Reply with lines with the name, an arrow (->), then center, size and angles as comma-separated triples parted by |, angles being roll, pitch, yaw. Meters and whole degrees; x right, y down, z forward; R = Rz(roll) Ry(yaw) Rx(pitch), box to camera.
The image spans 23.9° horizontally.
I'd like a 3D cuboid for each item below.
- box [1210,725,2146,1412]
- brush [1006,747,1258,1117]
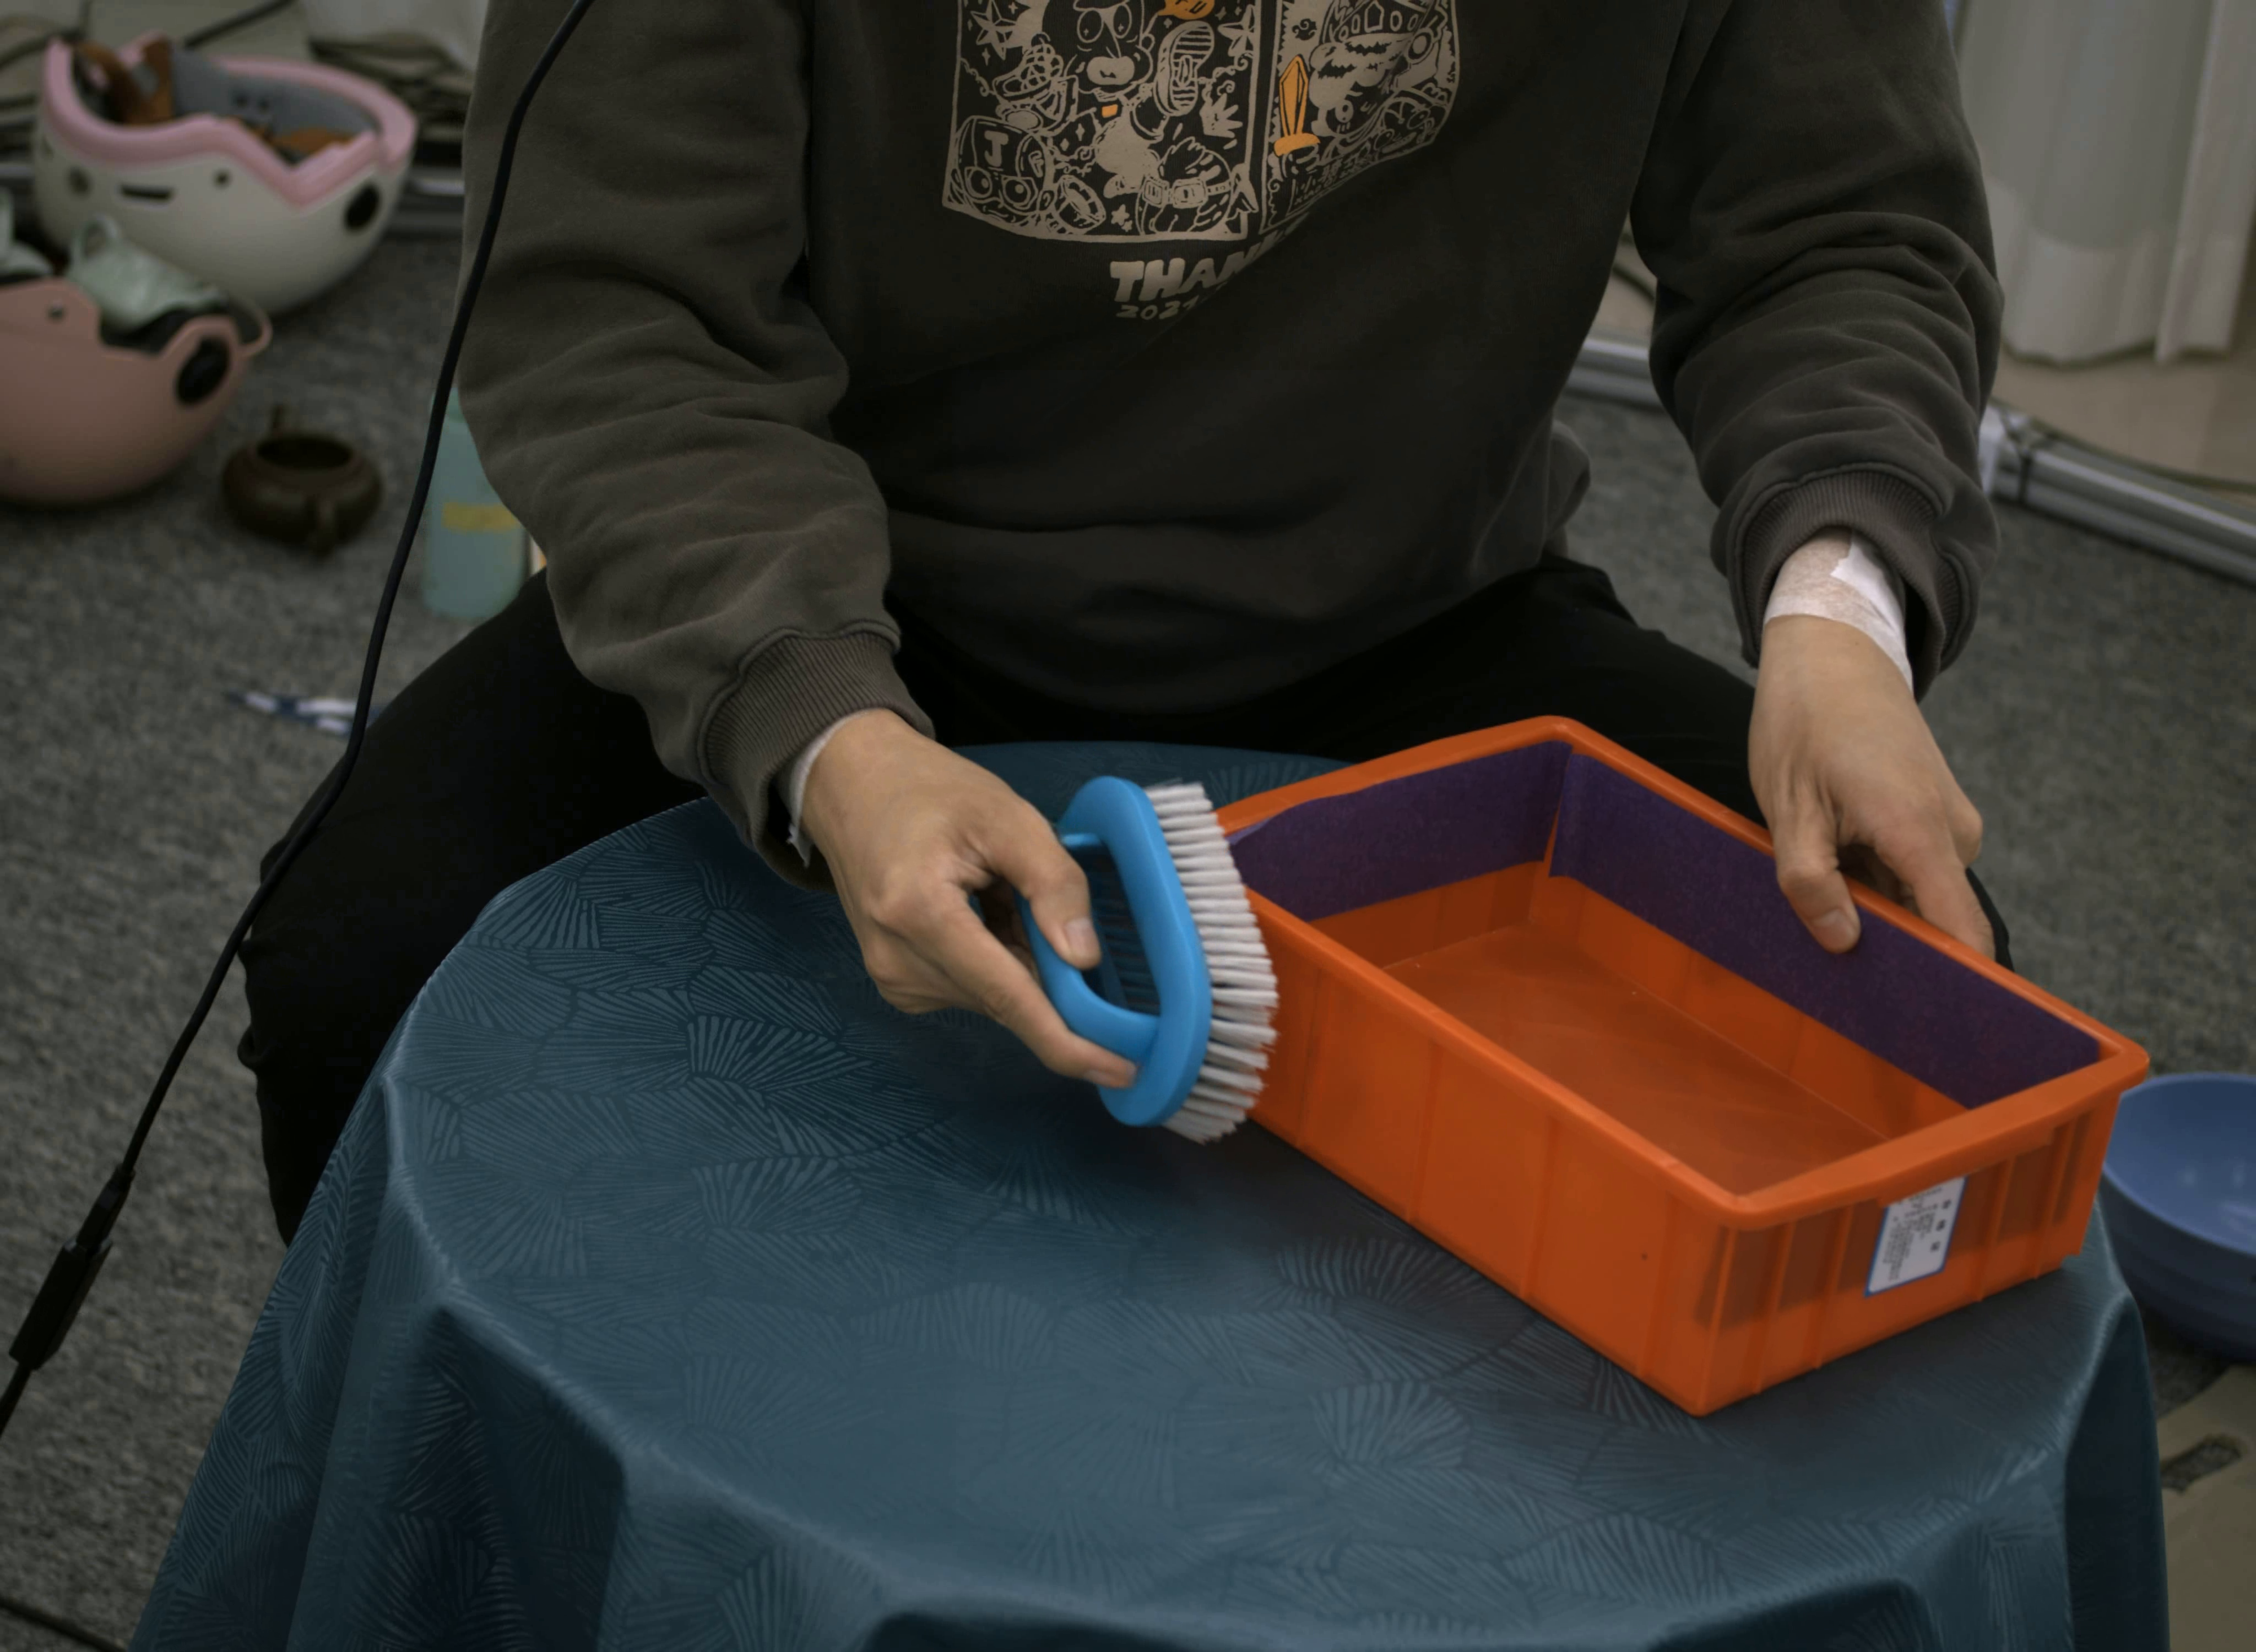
box -> 0.169, 0.079, 1.835 | 0.205, 0.096, 0.306 | -15, 34, -37
brush -> -0.006, 0.037, 1.814 | 0.063, 0.084, 0.143 | 6, 45, -25
